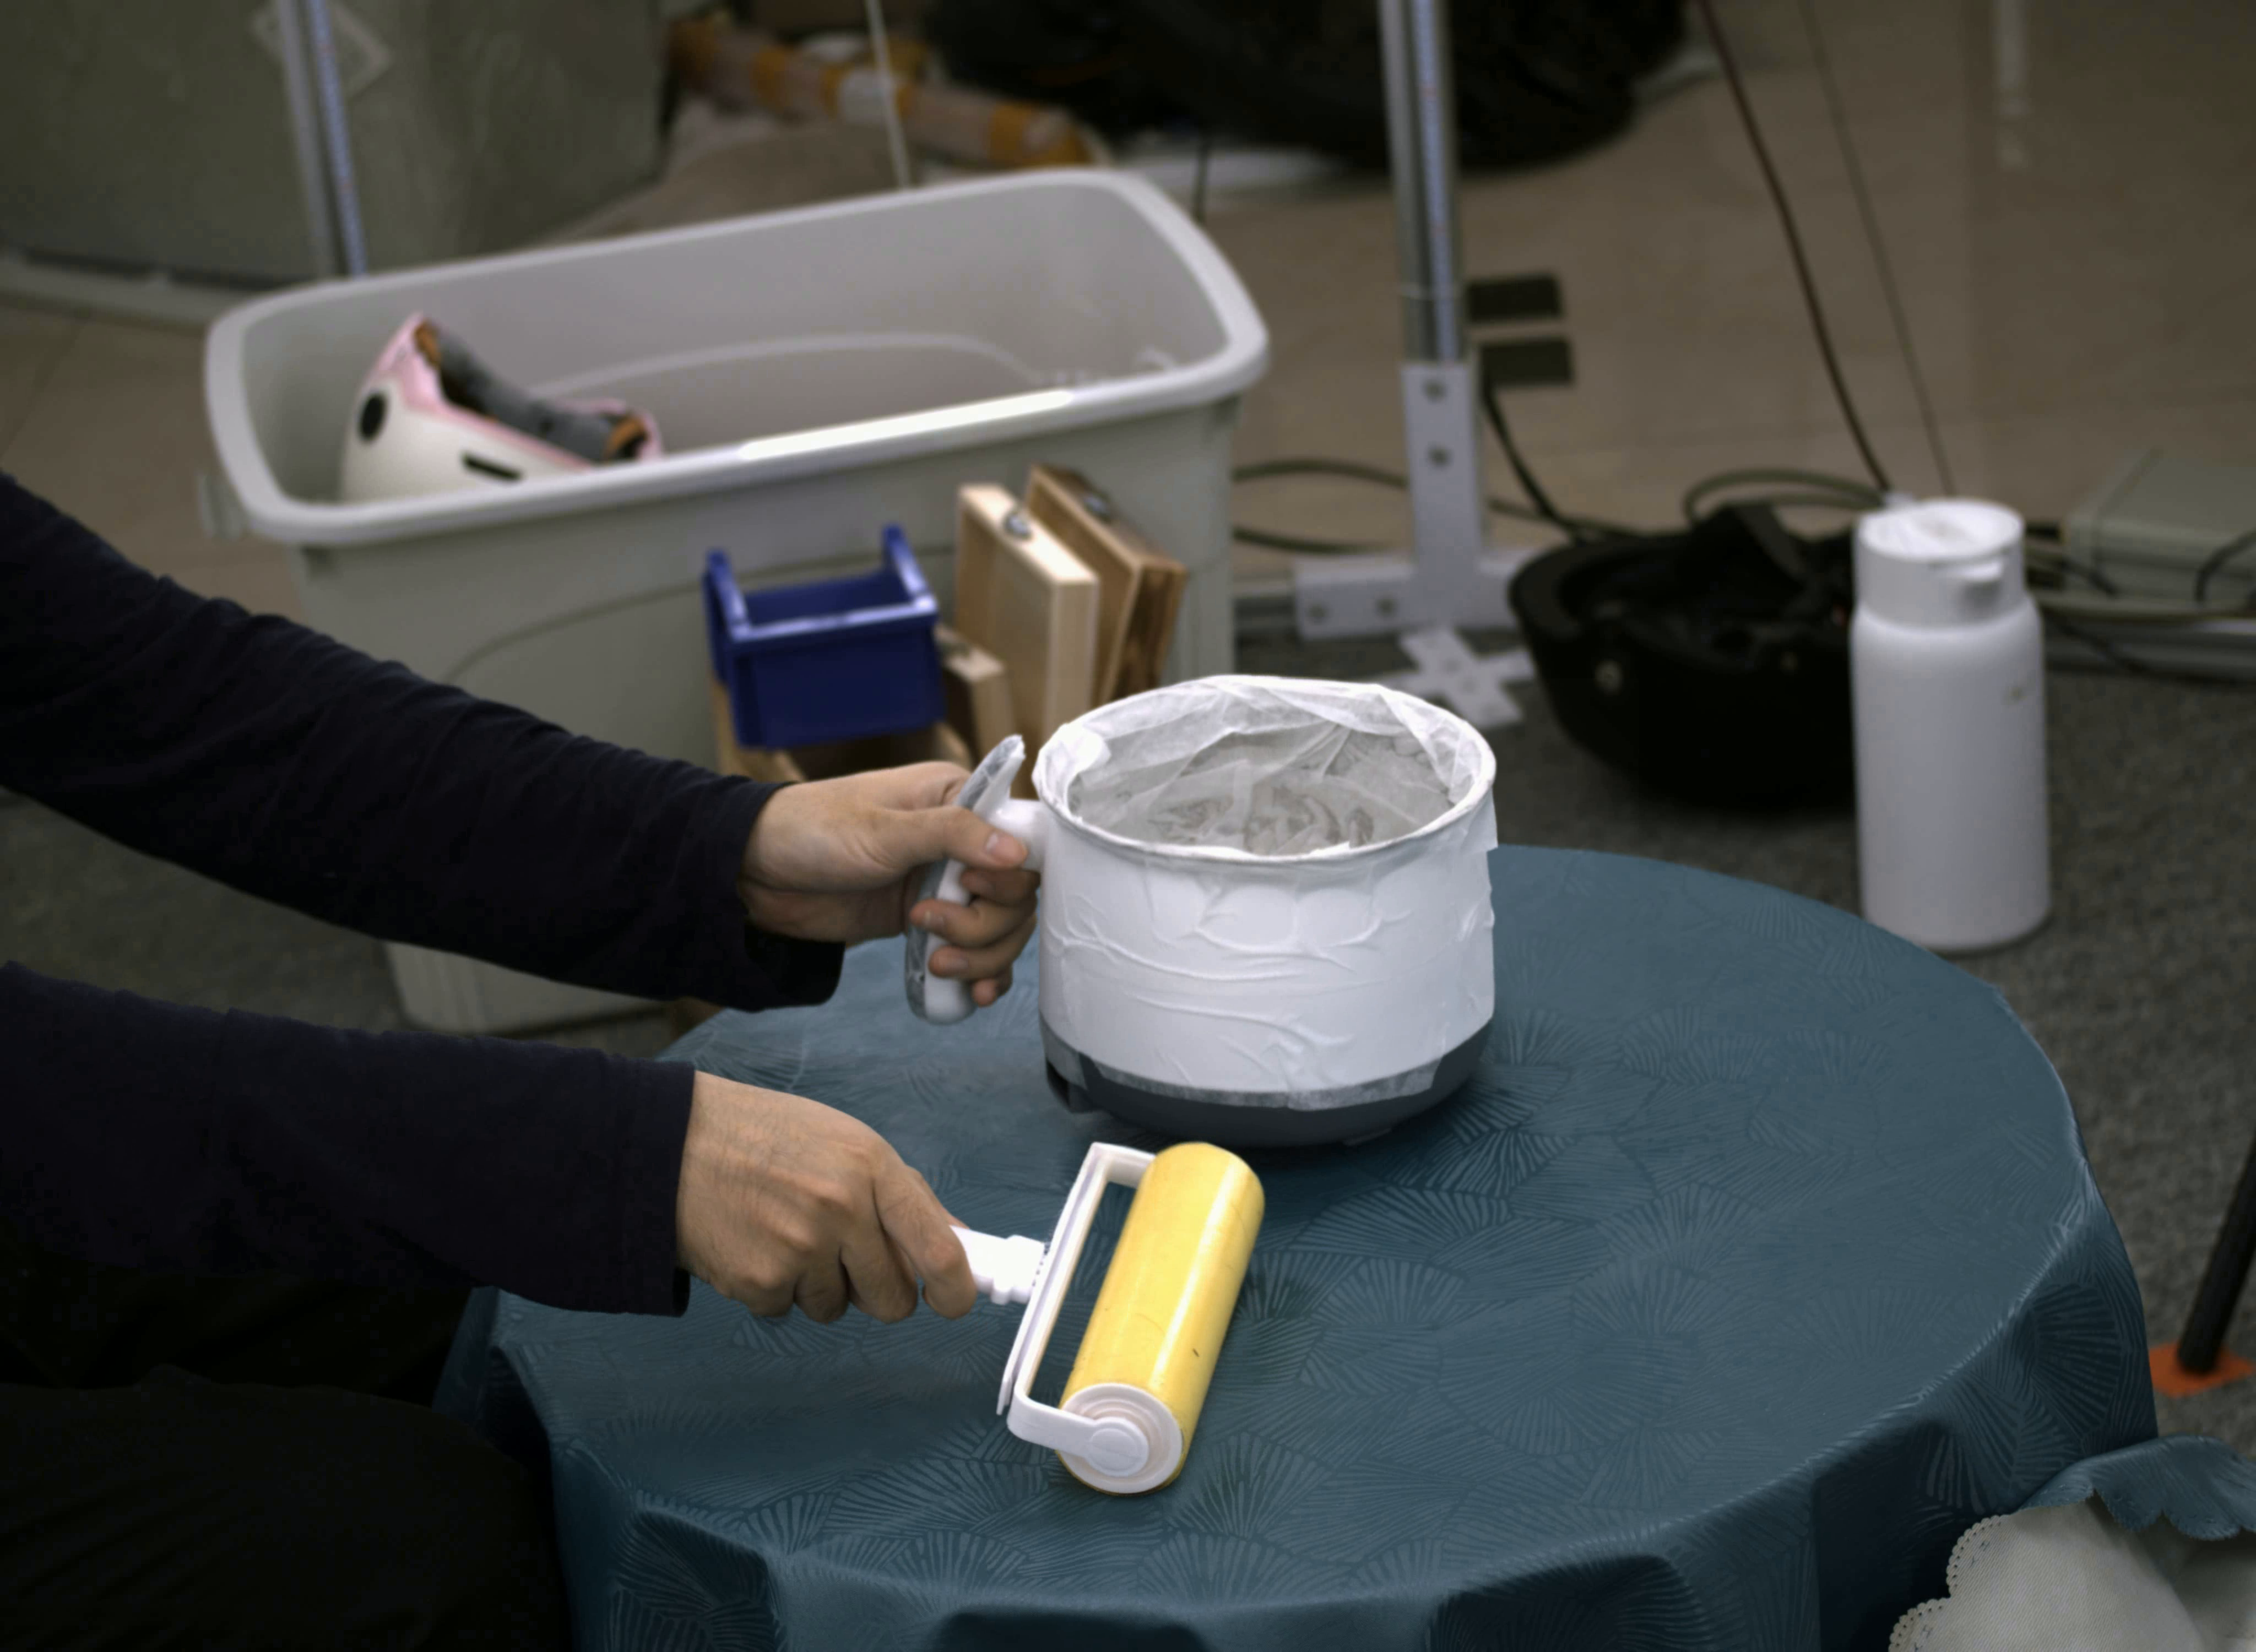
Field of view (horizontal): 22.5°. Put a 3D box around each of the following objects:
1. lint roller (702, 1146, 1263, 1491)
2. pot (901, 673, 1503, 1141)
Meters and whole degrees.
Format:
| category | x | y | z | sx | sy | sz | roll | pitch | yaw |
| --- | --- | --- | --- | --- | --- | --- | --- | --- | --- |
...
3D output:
| category | x | y | z | sx | sy | sz | roll | pitch | yaw |
| --- | --- | --- | --- | --- | --- | --- | --- | --- | --- |
| lint roller | -0.055 | 0.150 | 2.009 | 0.192 | 0.052 | 0.171 | 21 | 29 | -1 |
| pot | 0.026 | 0.030 | 2.188 | 0.233 | 0.139 | 0.176 | 5 | 24 | 9 |
